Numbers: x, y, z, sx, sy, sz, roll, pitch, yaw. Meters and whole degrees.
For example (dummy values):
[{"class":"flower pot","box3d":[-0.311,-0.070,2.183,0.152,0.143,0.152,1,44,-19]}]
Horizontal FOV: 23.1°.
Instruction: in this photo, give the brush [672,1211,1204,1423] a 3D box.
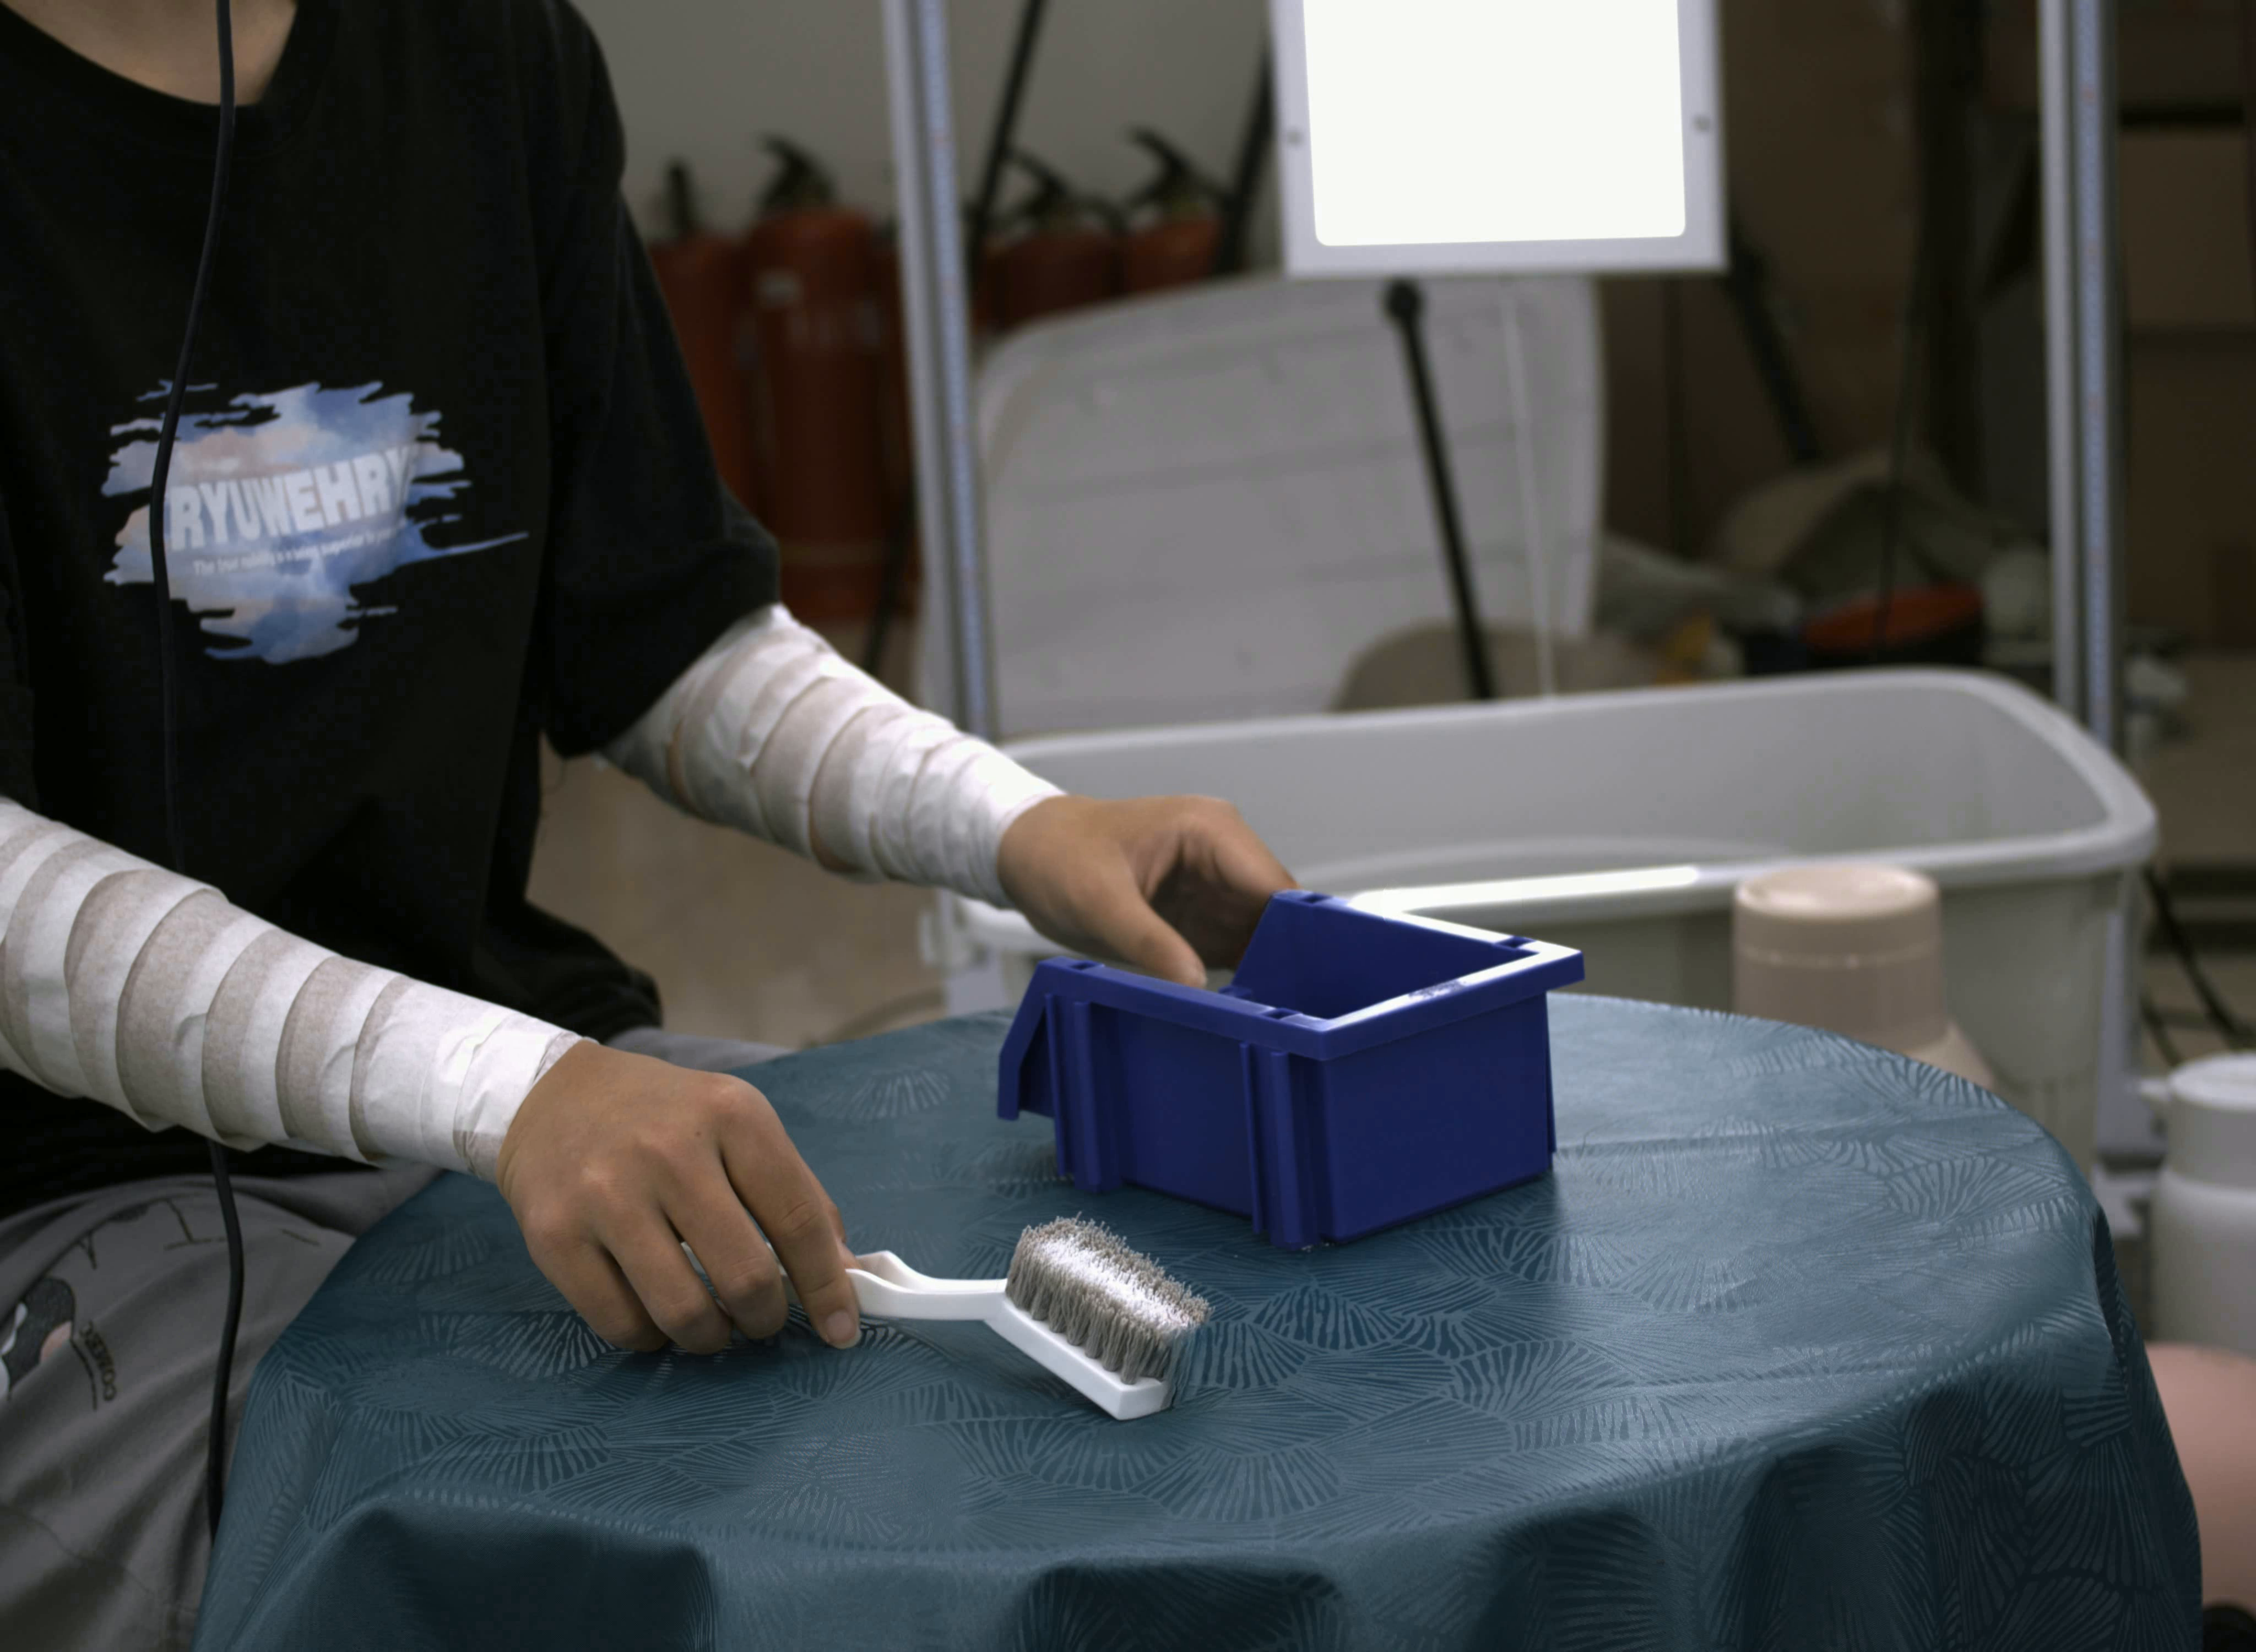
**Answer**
[{"class":"brush","box3d":[-0.067,0.136,1.755,0.033,0.050,0.249,-20,23,-38]}]

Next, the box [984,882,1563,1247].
[{"class":"box","box3d":[0.047,0.079,1.903,0.121,0.082,0.183,-15,18,-34]}]
